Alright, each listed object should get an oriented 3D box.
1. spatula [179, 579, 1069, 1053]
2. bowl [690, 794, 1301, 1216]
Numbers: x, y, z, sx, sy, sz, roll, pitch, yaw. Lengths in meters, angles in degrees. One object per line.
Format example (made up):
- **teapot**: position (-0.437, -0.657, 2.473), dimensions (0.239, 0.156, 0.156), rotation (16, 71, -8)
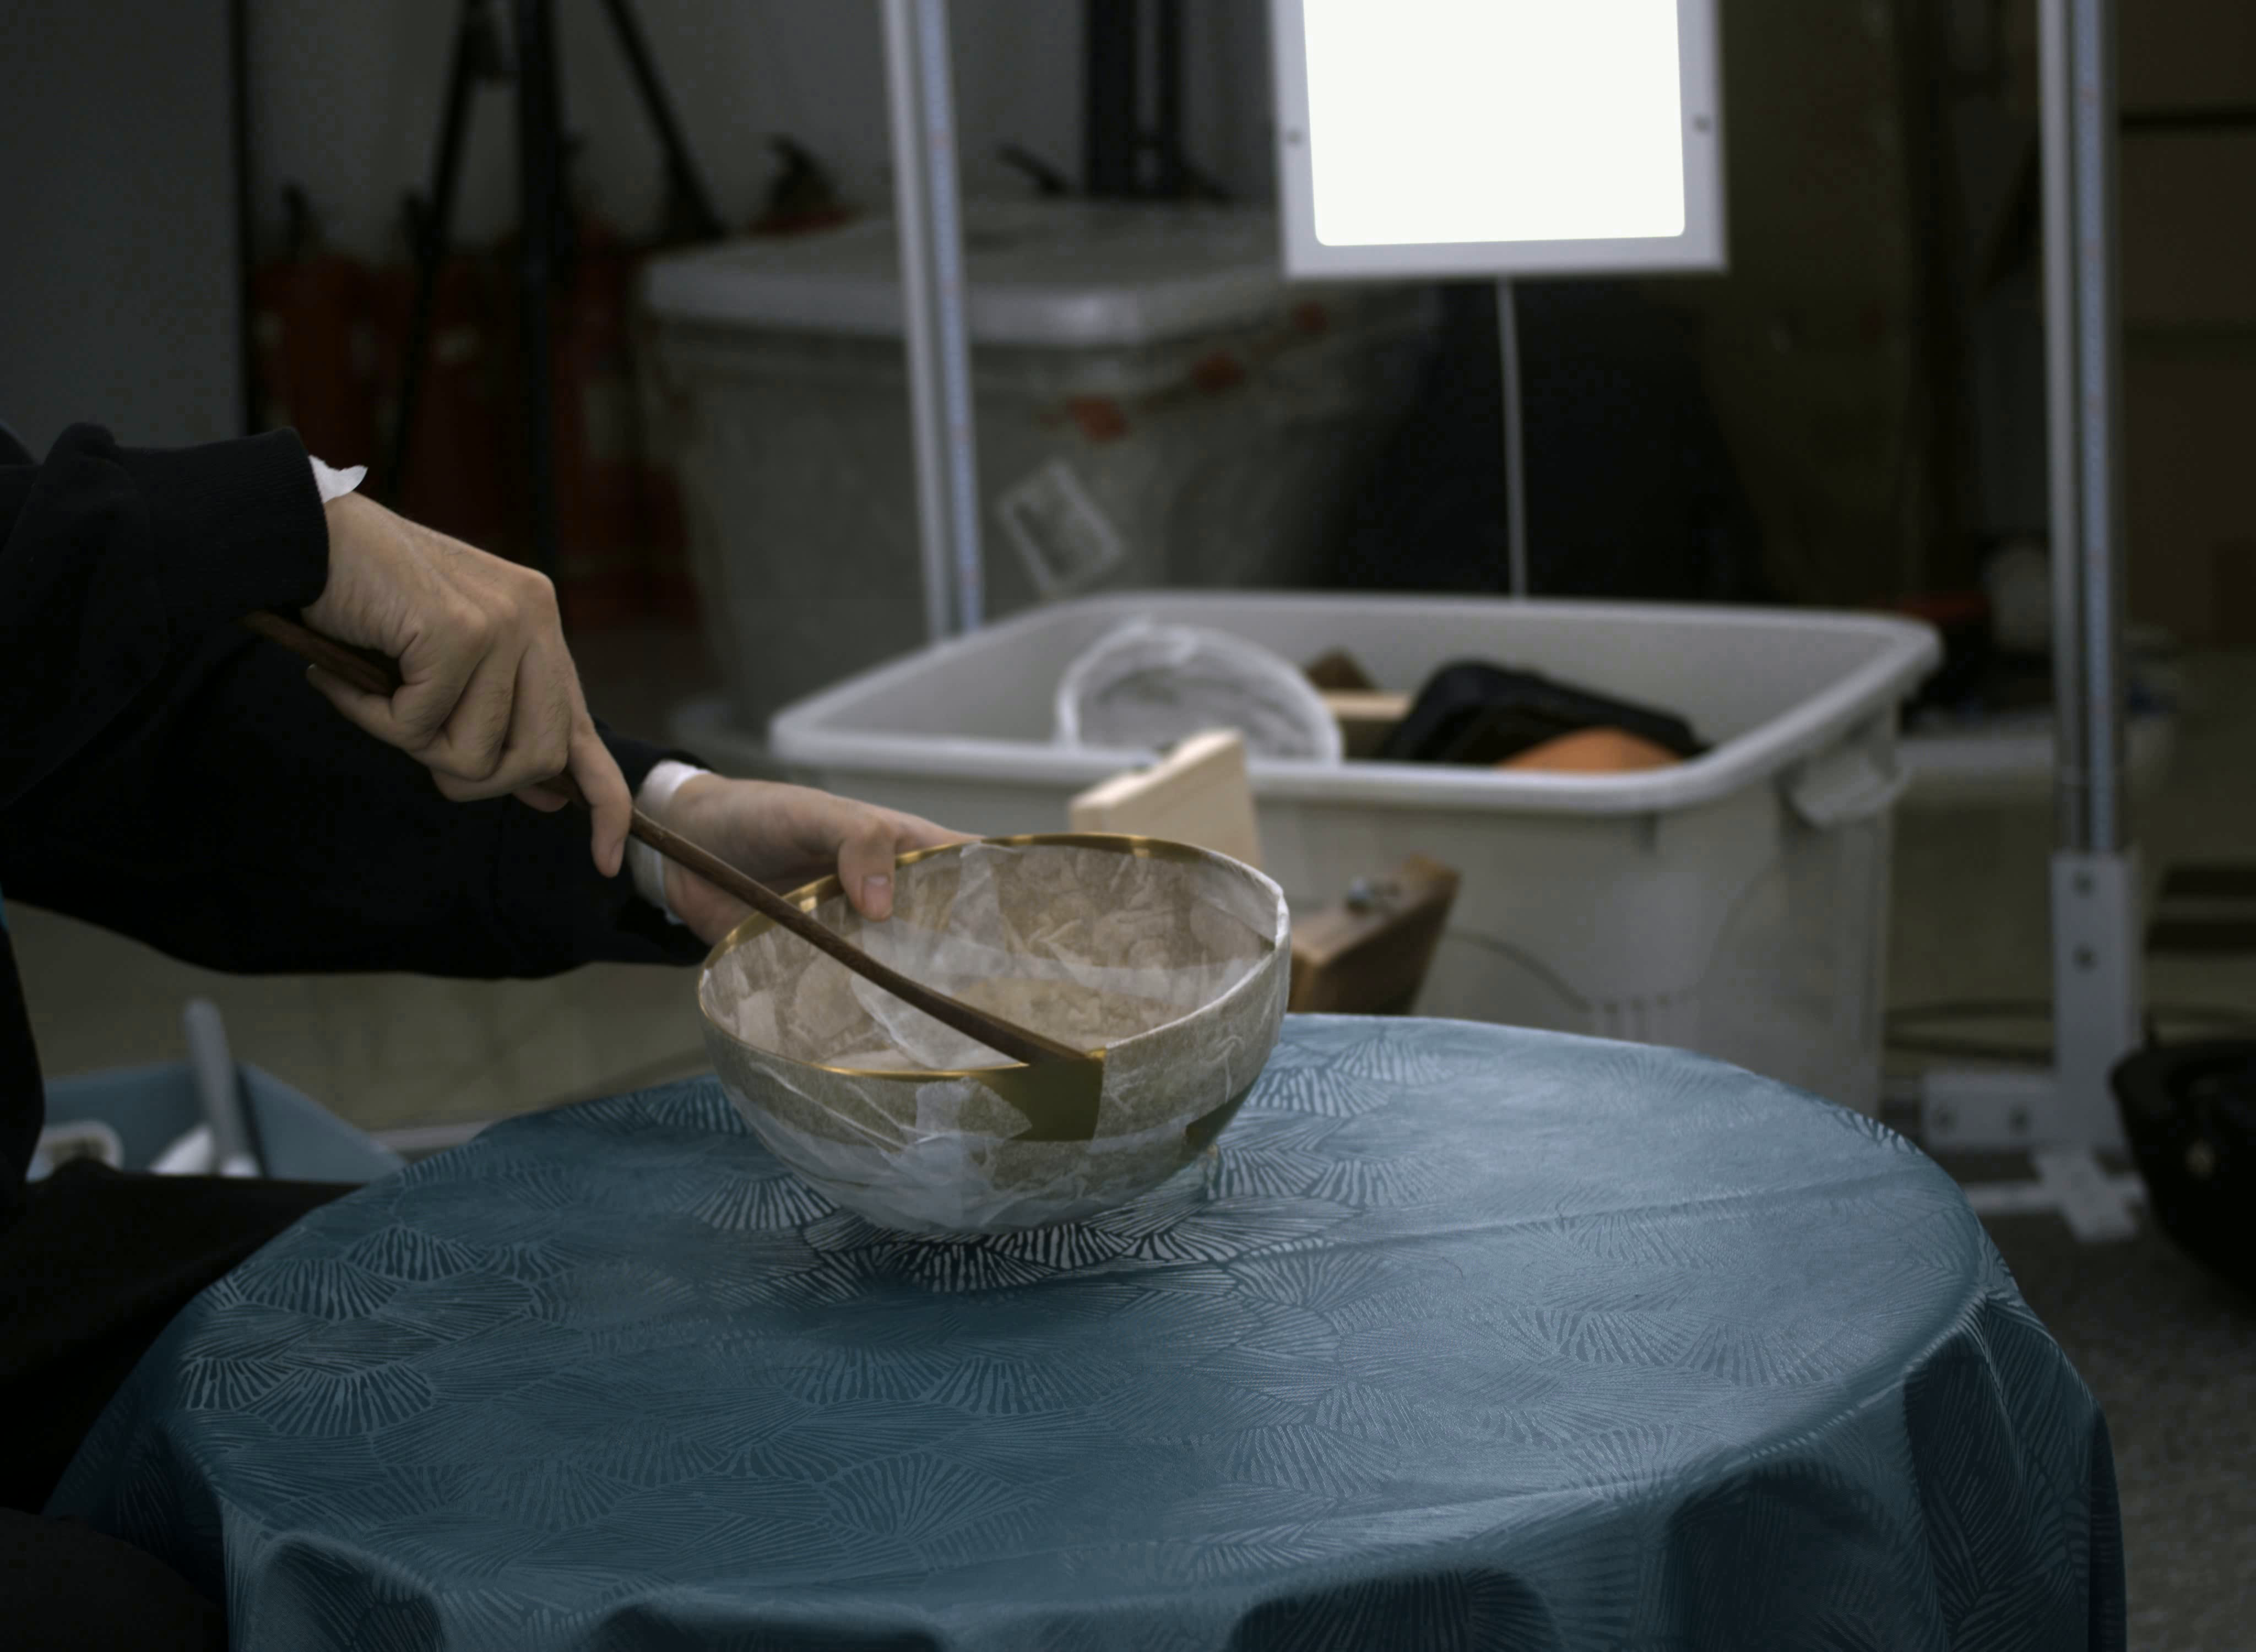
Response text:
- **spatula**: position (-0.146, 0.009, 1.818), dimensions (0.380, 0.016, 0.097), rotation (31, -3, -24)
- **bowl**: position (-0.046, 0.071, 1.864), dimensions (0.214, 0.095, 0.214), rotation (-1, 26, -1)
